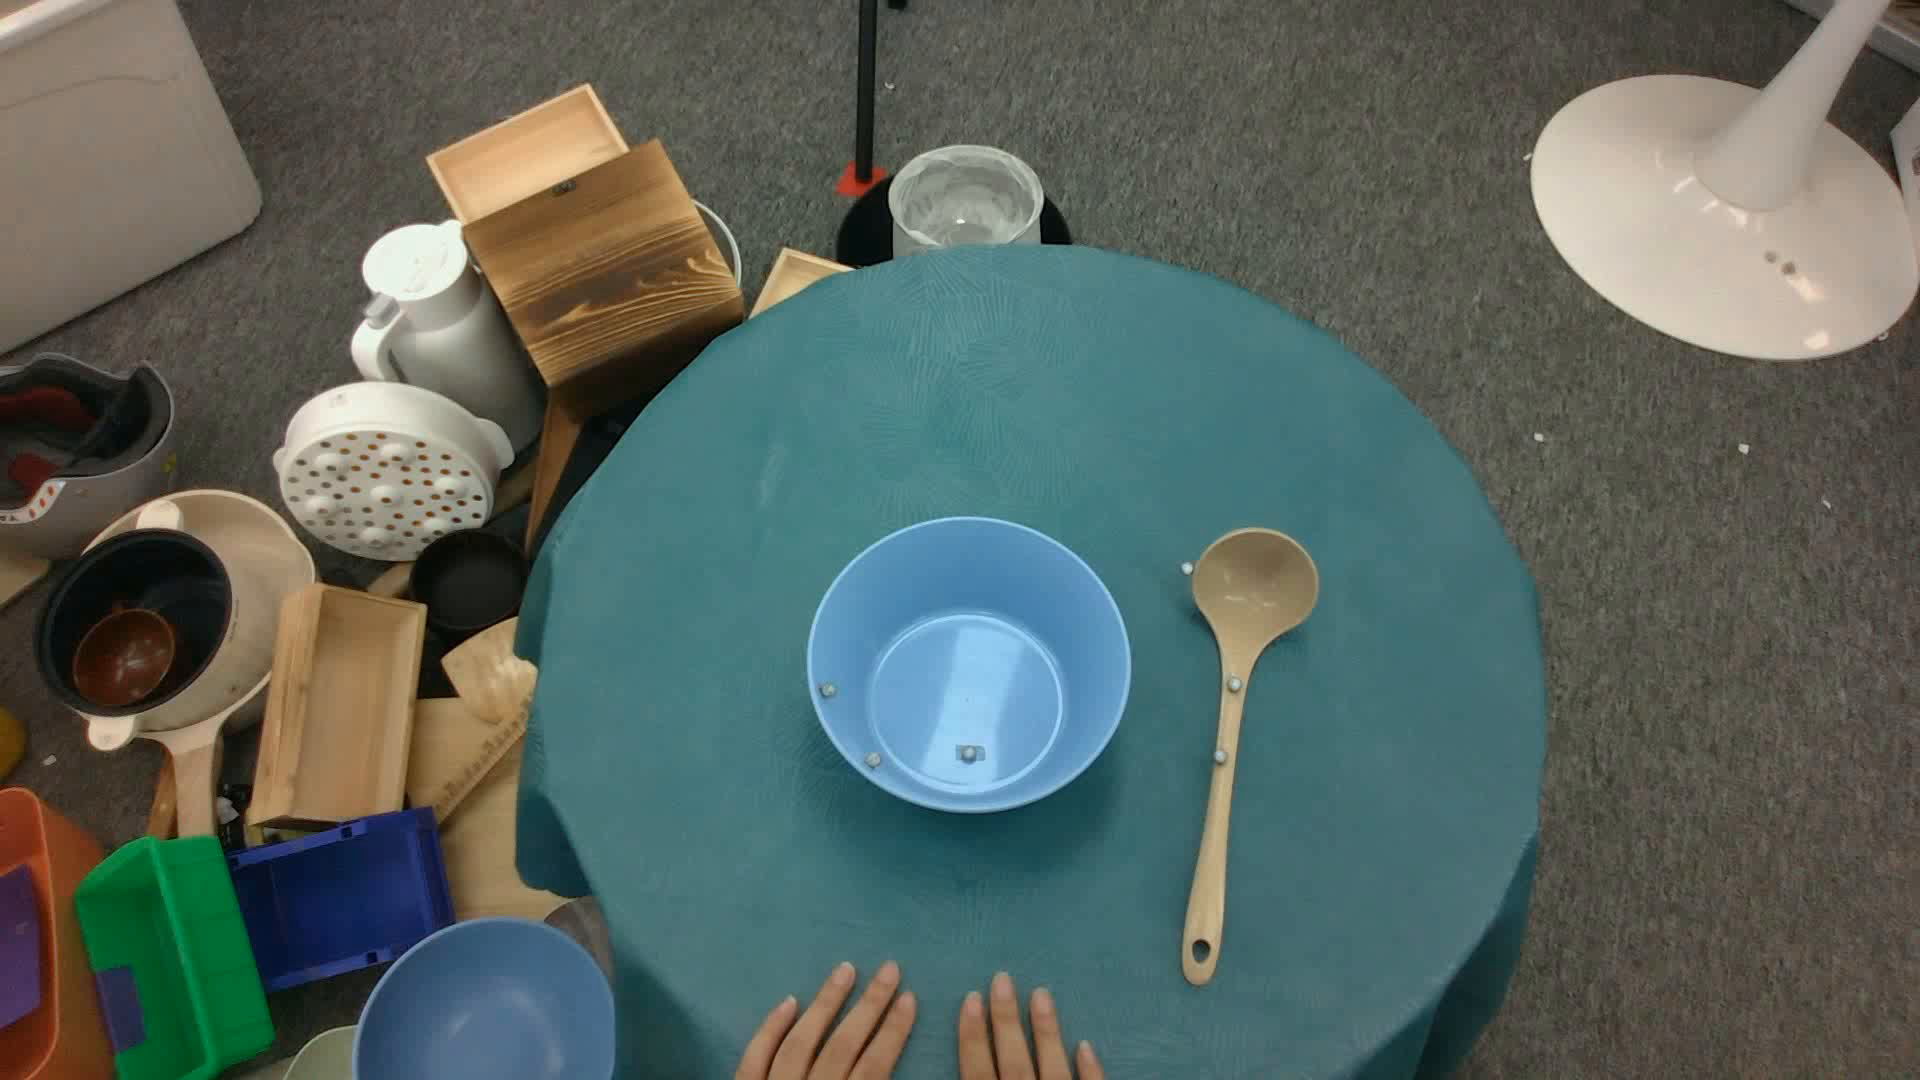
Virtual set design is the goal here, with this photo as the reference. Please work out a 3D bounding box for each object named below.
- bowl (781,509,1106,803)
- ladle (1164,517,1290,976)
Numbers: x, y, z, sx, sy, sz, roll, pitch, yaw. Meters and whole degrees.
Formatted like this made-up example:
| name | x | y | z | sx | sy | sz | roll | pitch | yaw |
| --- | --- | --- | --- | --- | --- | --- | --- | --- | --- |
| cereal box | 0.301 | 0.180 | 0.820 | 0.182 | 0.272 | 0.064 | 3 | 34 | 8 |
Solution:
| name | x | y | z | sx | sy | sz | roll | pitch | yaw |
| --- | --- | --- | --- | --- | --- | --- | --- | --- | --- |
| bowl | -0.009 | 0.074 | 0.770 | 0.176 | 0.070 | 0.177 | 1 | 59 | -1 |
| ladle | 0.139 | 0.104 | 0.758 | 0.072 | 0.072 | 0.255 | 9 | 59 | 4 |
